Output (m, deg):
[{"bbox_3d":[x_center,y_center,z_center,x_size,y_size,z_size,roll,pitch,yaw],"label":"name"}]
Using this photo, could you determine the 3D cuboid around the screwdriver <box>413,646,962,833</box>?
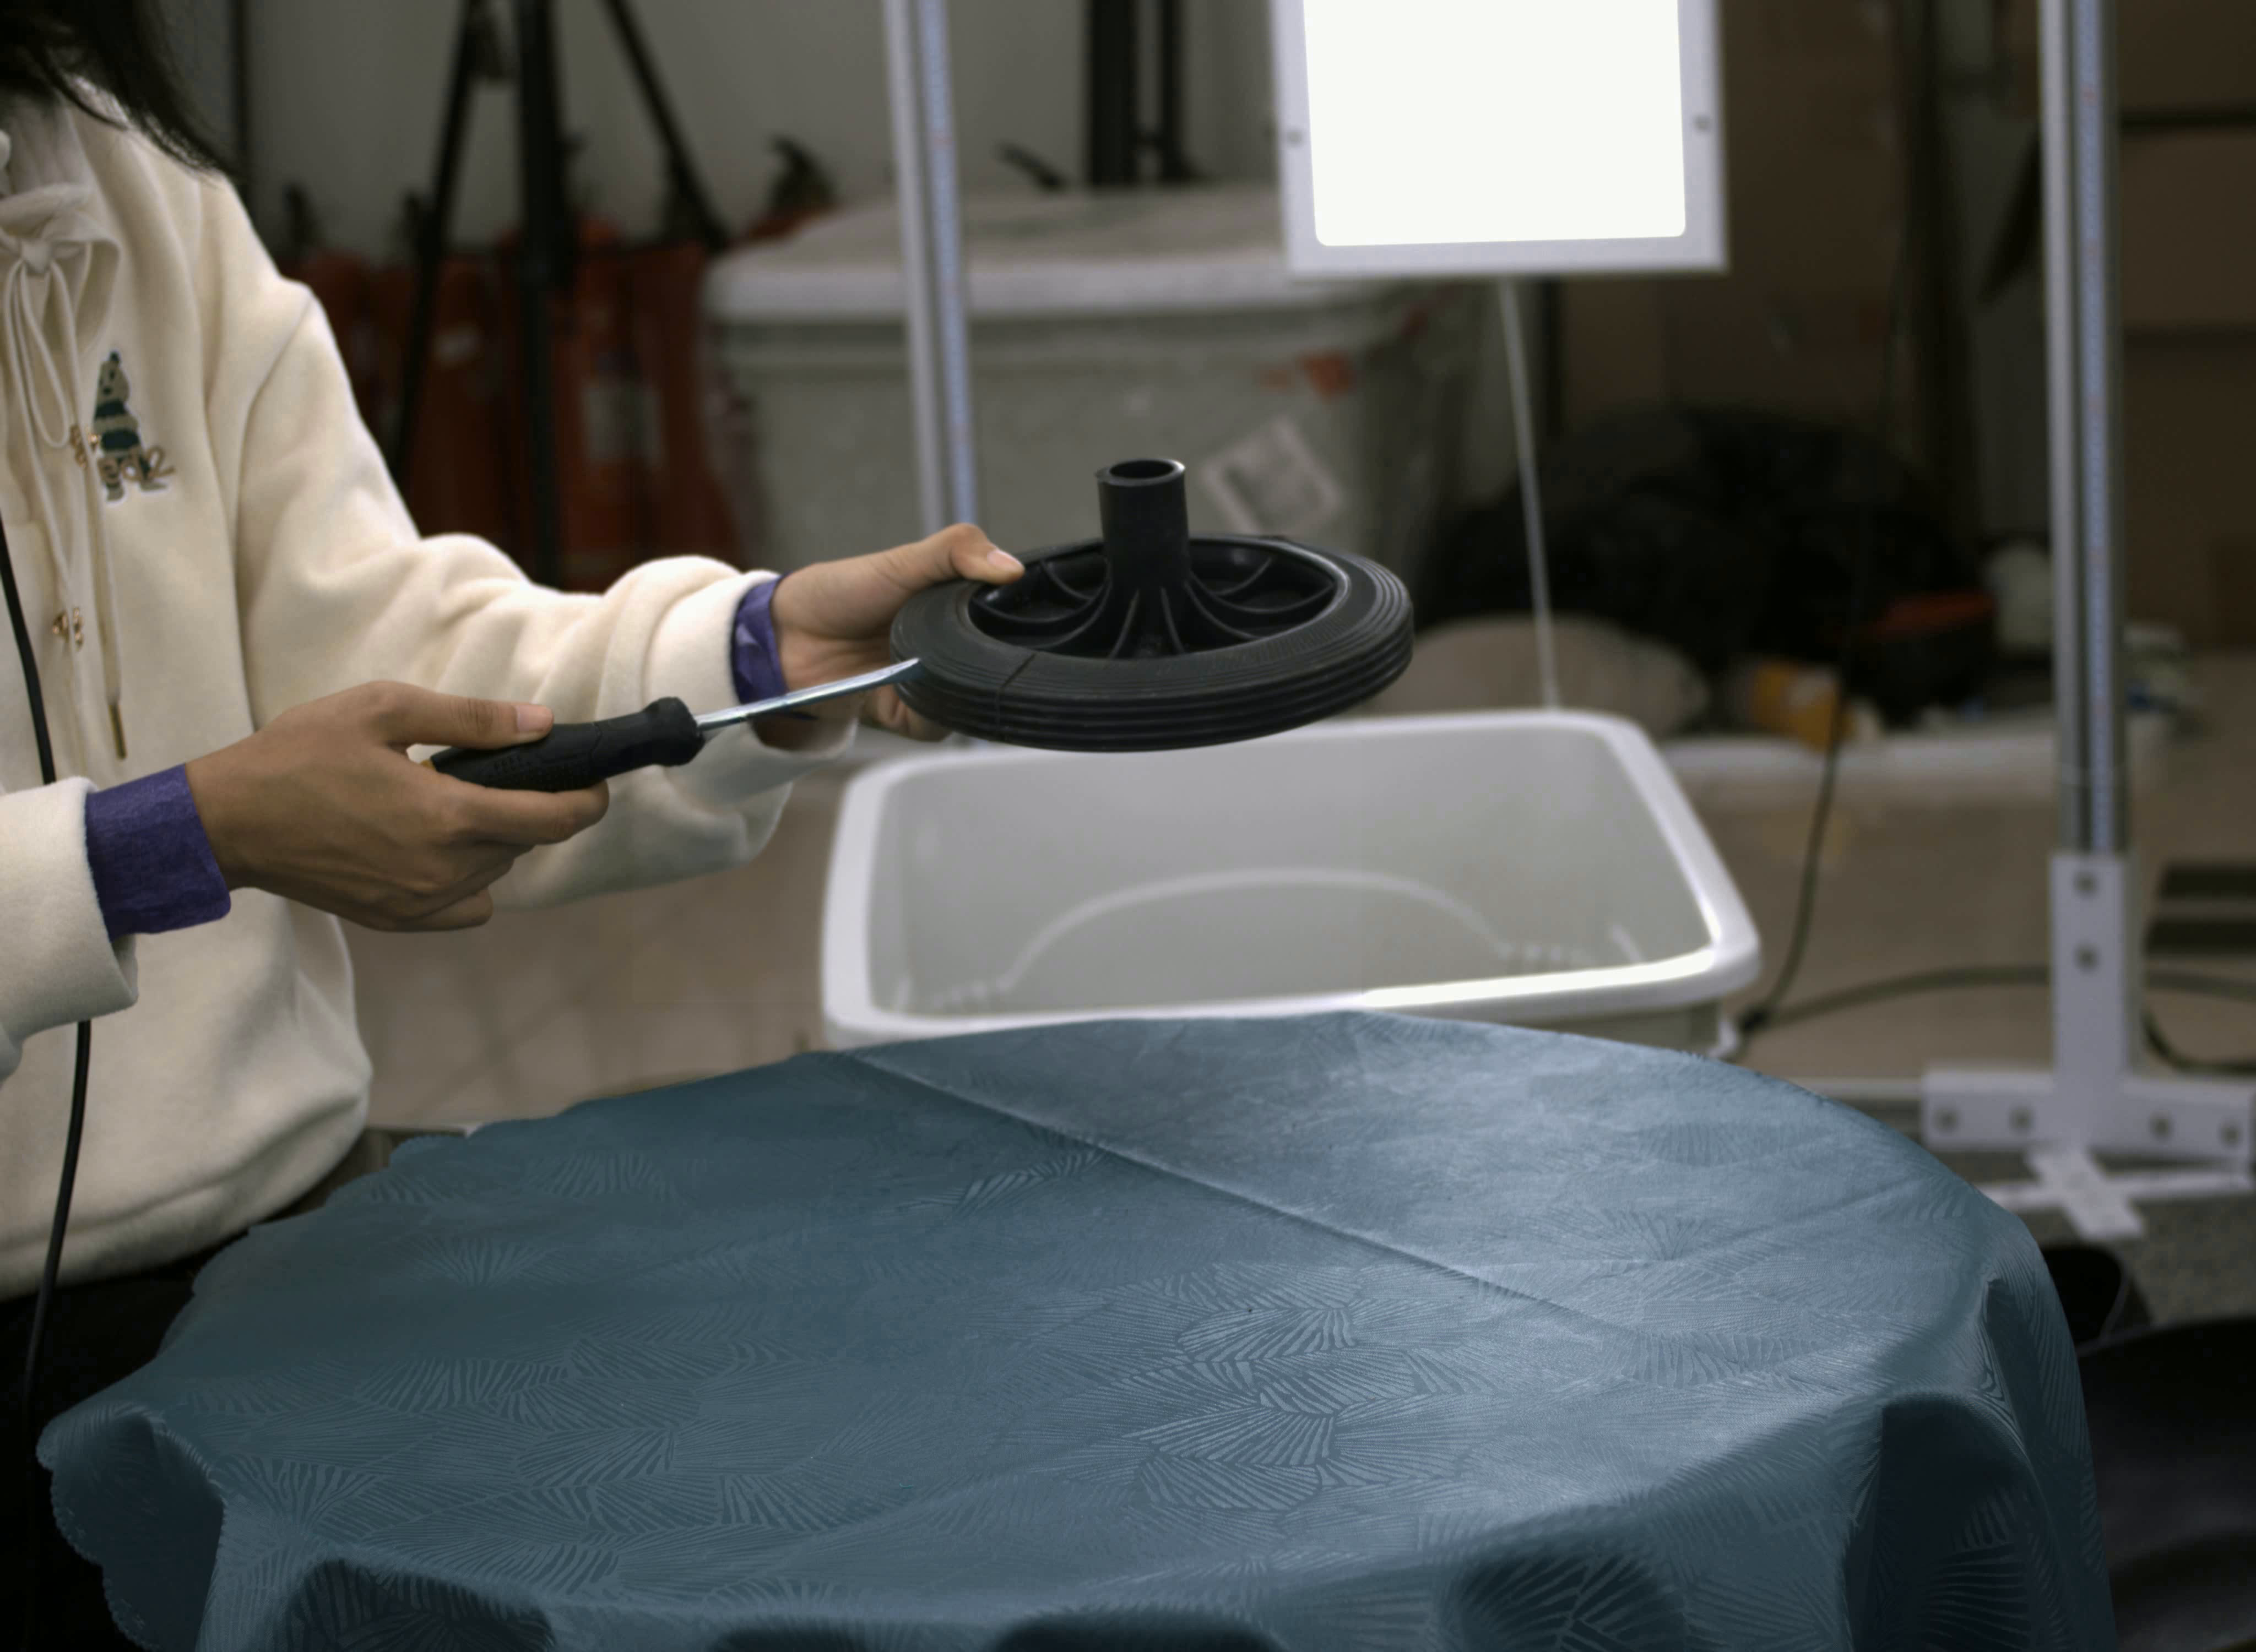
[{"bbox_3d":[-0.150,-0.030,1.893,0.195,0.031,0.032,-13,15,-13],"label":"screwdriver"}]

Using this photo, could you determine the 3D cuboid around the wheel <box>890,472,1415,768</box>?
[{"bbox_3d":[0.008,-0.083,1.956,0.184,0.079,0.192,-11,23,-16],"label":"wheel"}]
